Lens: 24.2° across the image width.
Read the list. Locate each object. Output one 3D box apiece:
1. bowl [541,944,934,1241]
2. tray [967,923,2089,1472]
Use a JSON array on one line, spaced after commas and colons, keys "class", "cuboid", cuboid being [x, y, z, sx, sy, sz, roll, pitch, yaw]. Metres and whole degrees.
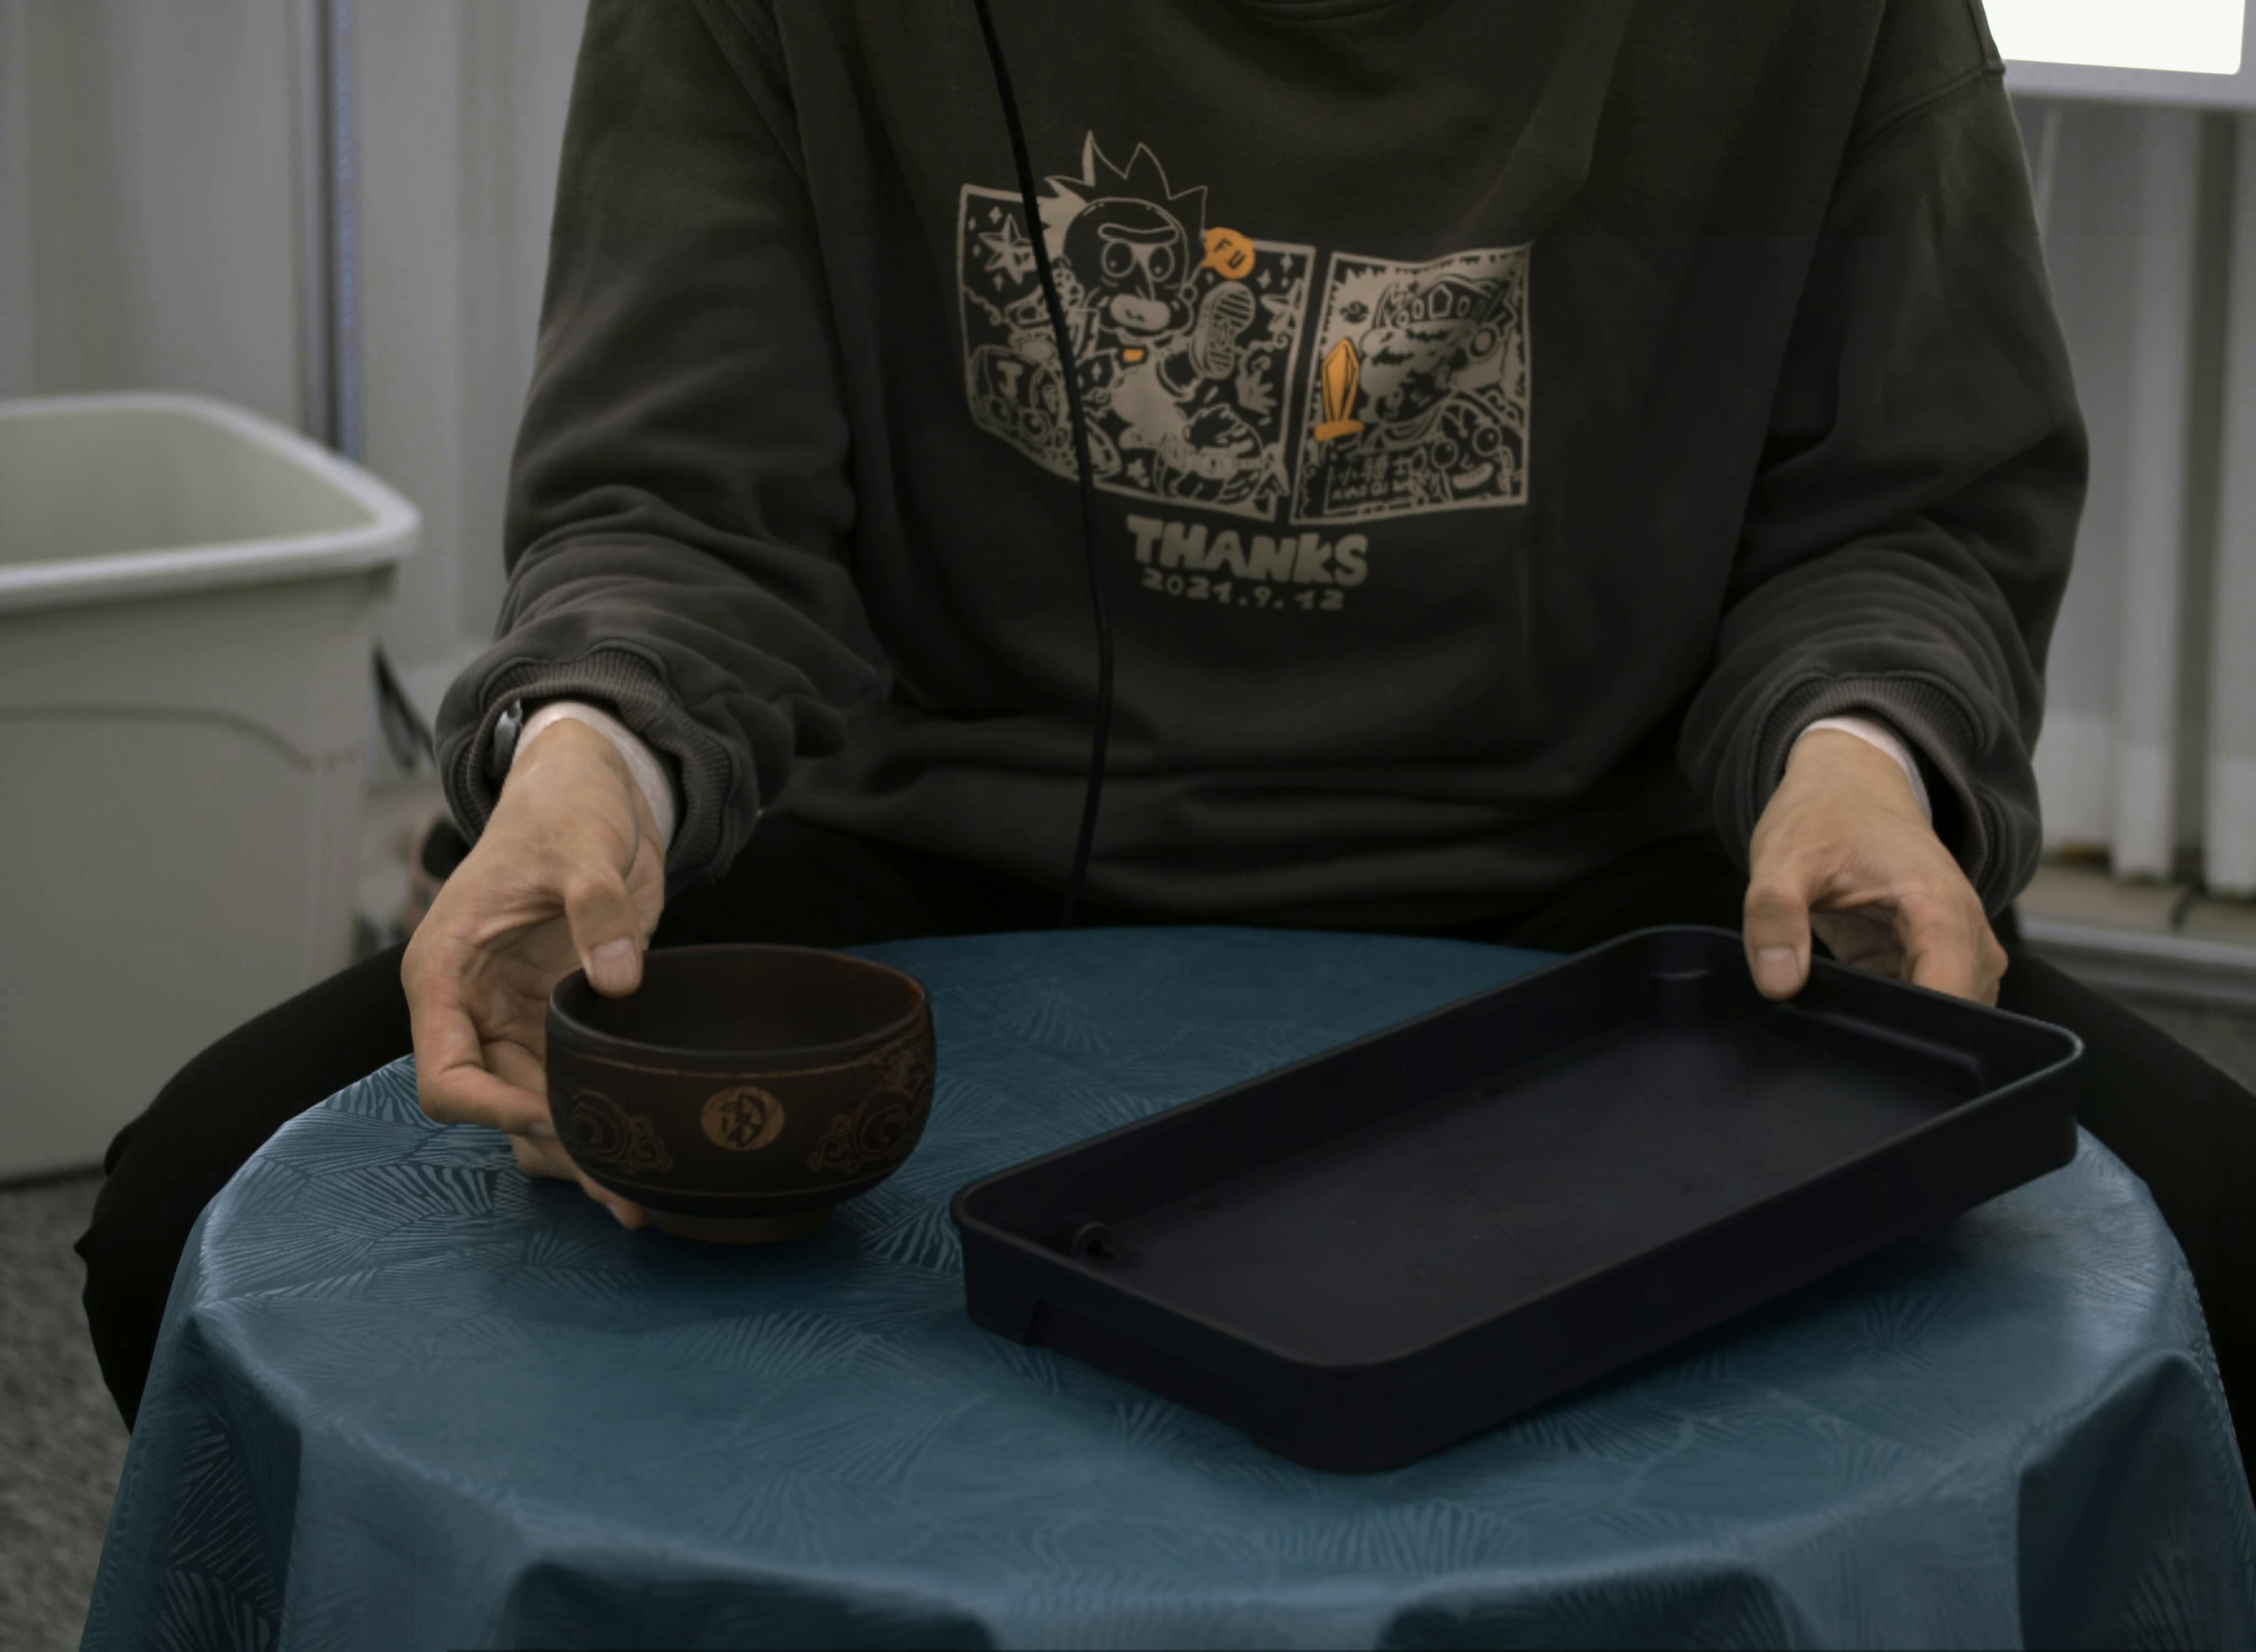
[{"class": "bowl", "cuboid": [-0.117, 0.083, 1.577, 0.117, 0.070, 0.117, 1, 13, 0]}, {"class": "tray", "cuboid": [0.123, 0.102, 1.558, 0.319, 0.037, 0.182, -20, 24, -39]}]
